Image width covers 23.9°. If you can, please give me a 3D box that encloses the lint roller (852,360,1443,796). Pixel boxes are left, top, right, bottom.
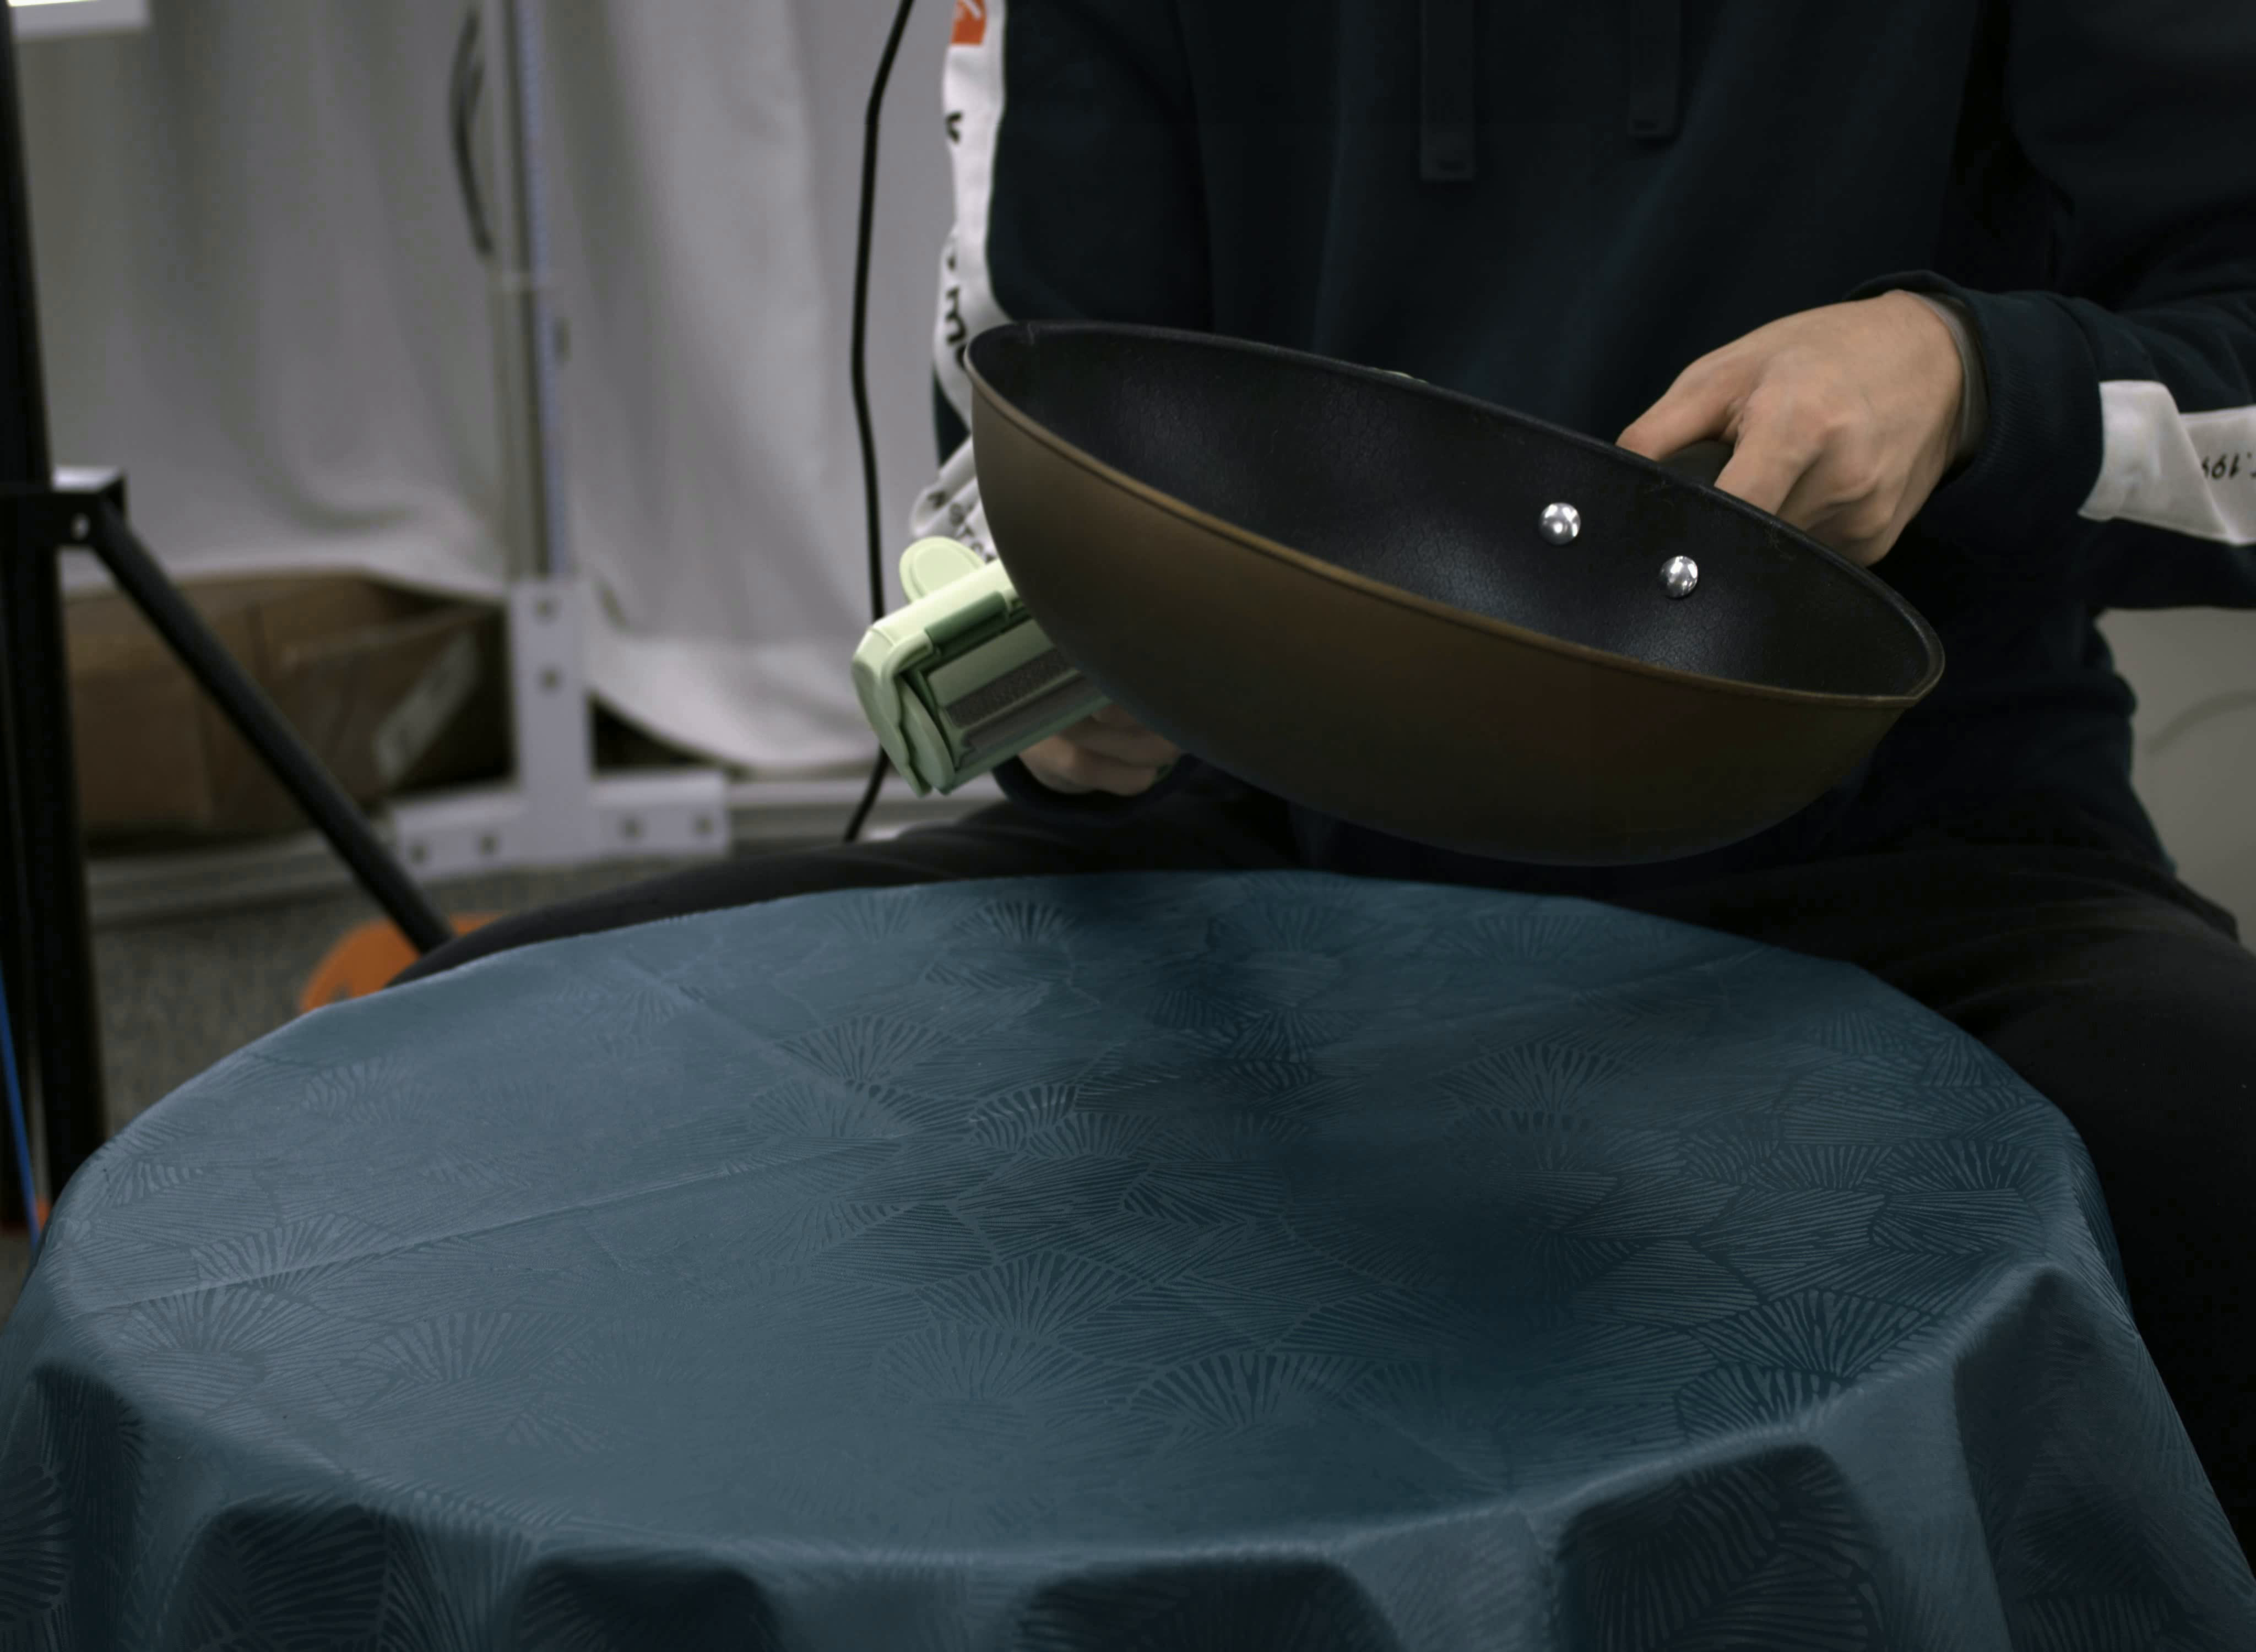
[{"bbox_3d":[-0.002,-0.071,1.675,0.196,0.083,0.184,-29,-7,-13],"label":"lint roller"}]

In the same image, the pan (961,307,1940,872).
[{"bbox_3d":[0.121,-0.066,1.540,0.293,0.087,0.454,26,18,25],"label":"pan"}]
